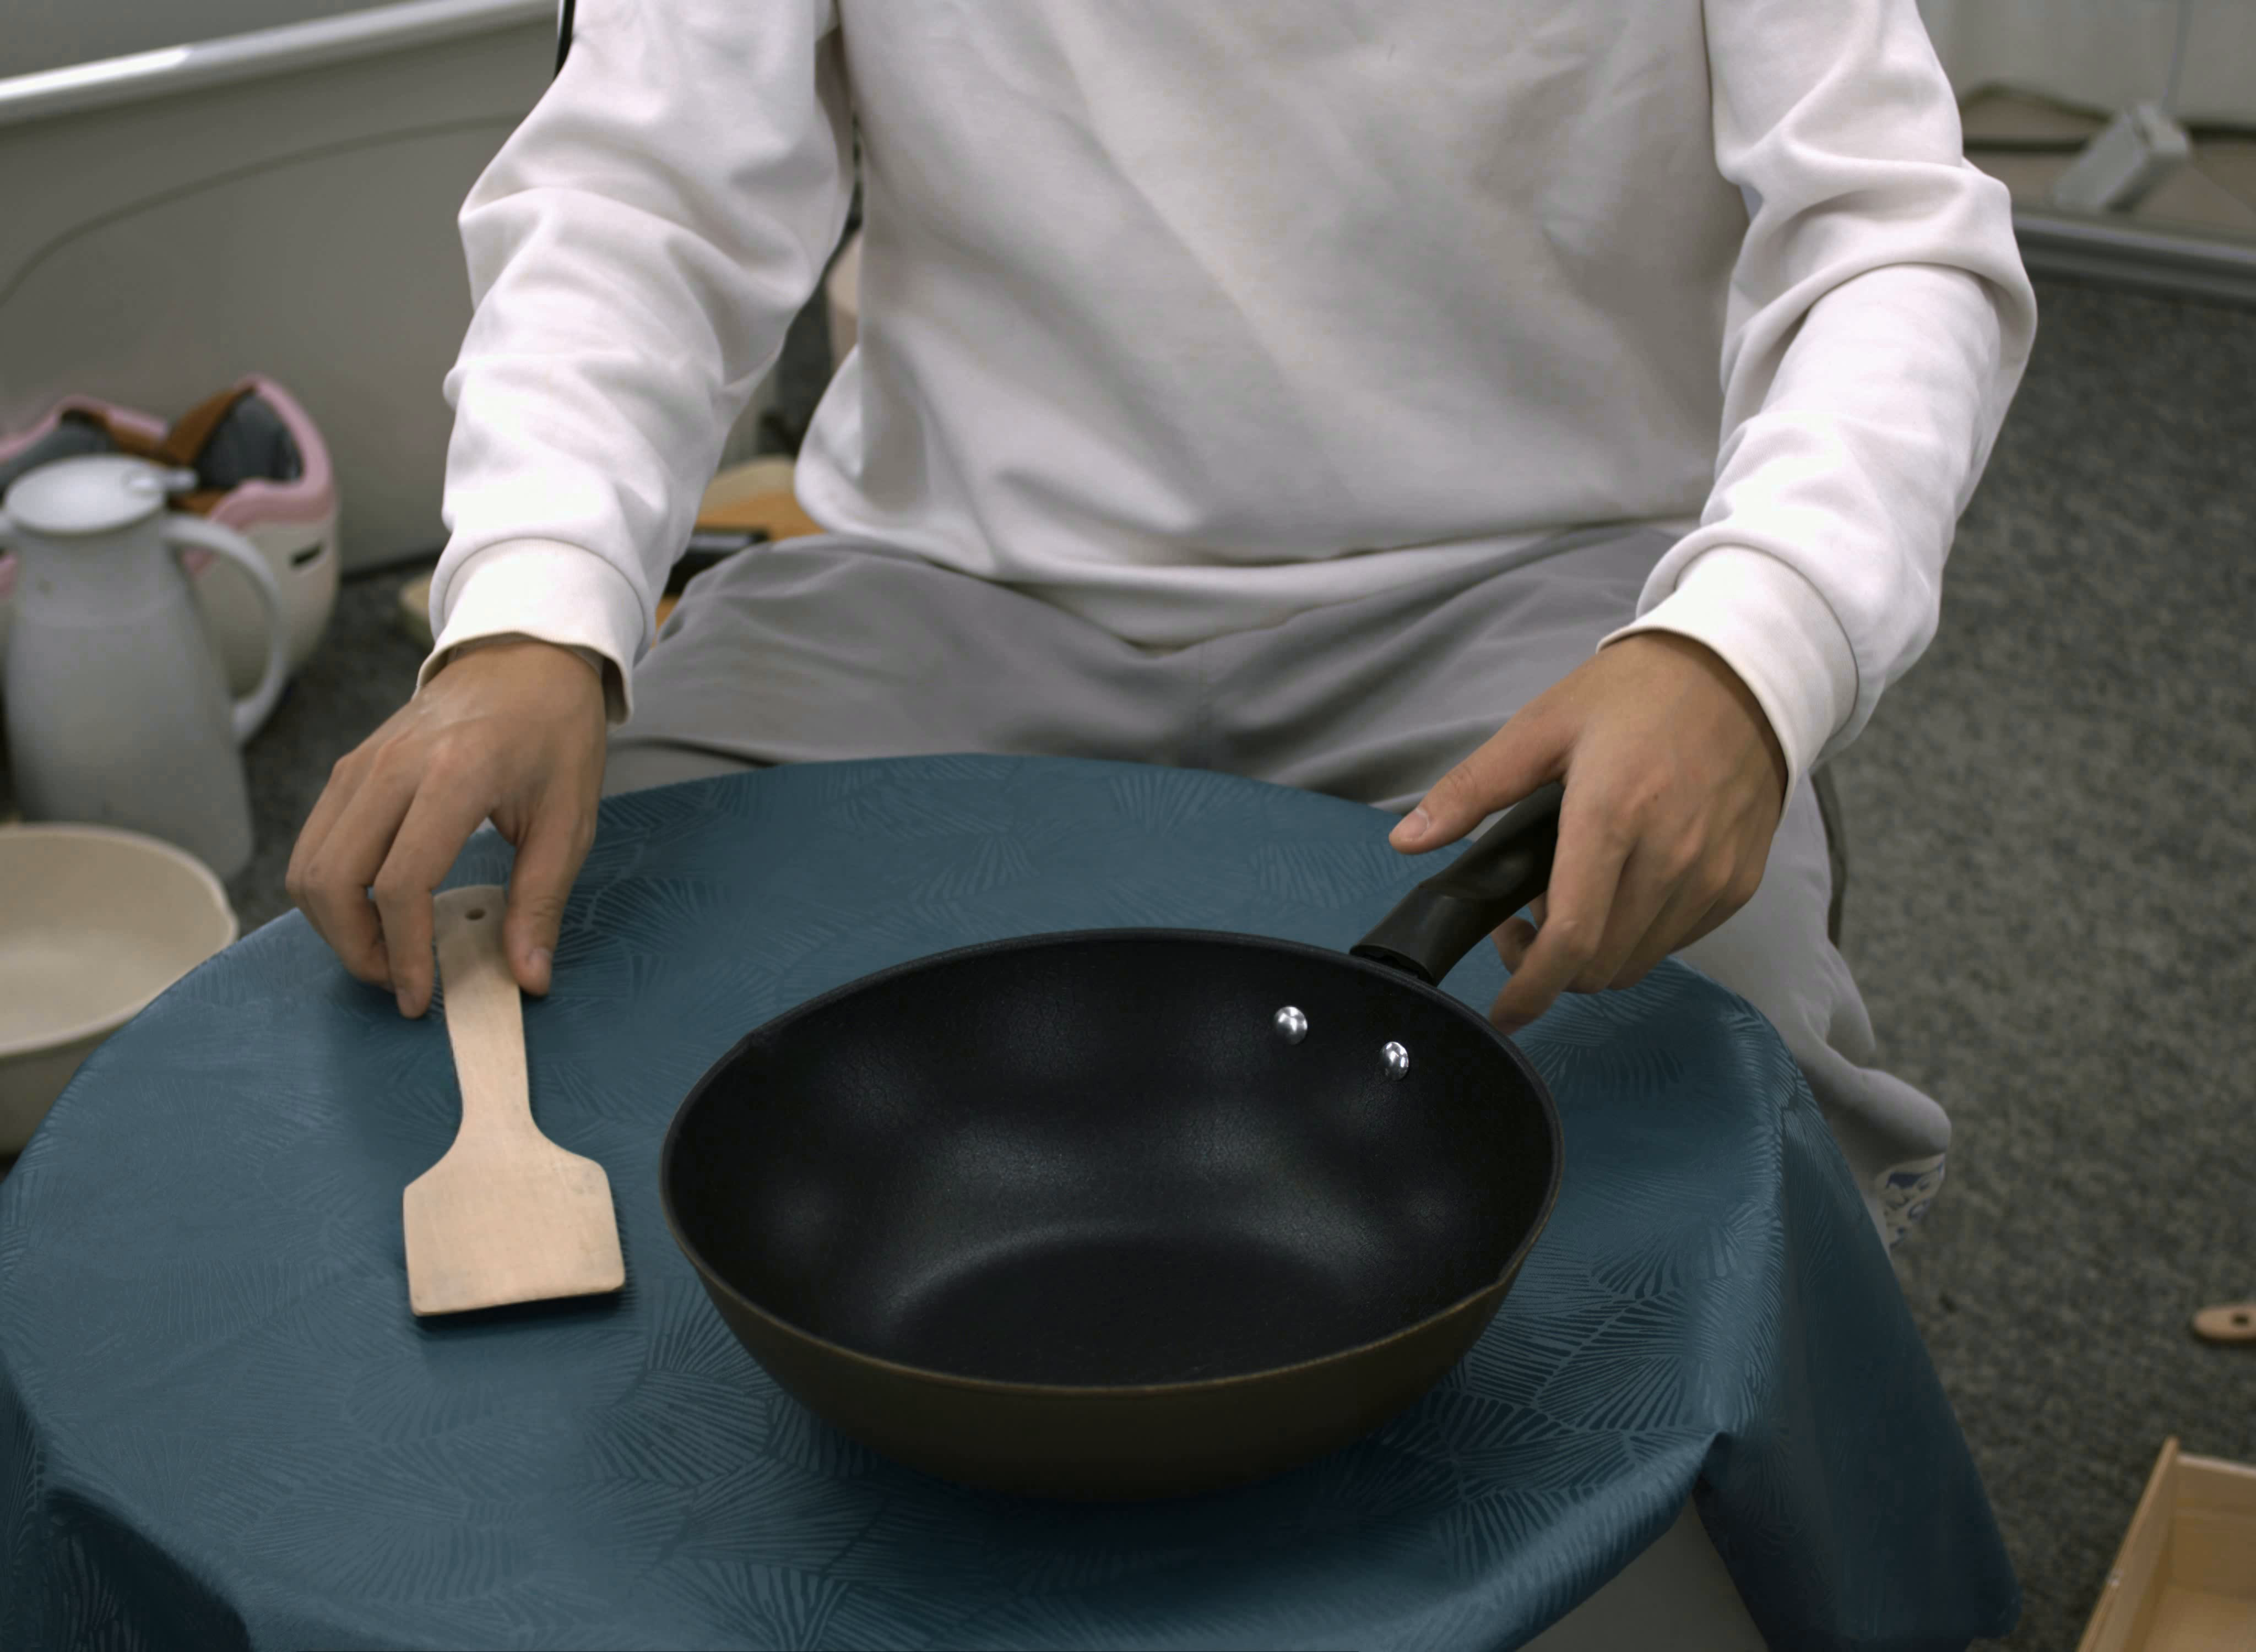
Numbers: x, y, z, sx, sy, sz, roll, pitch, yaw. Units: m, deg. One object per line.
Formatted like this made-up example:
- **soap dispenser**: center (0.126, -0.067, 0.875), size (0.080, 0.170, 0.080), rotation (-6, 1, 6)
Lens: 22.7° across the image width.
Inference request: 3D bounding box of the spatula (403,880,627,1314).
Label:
- **spatula**: center (-0.219, 0.090, 1.936), size (0.072, 0.010, 0.297), rotation (-7, 28, -7)

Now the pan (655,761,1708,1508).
- **pan**: center (0.049, 0.097, 1.819), size (0.287, 0.086, 0.470), rotation (17, 32, 32)
